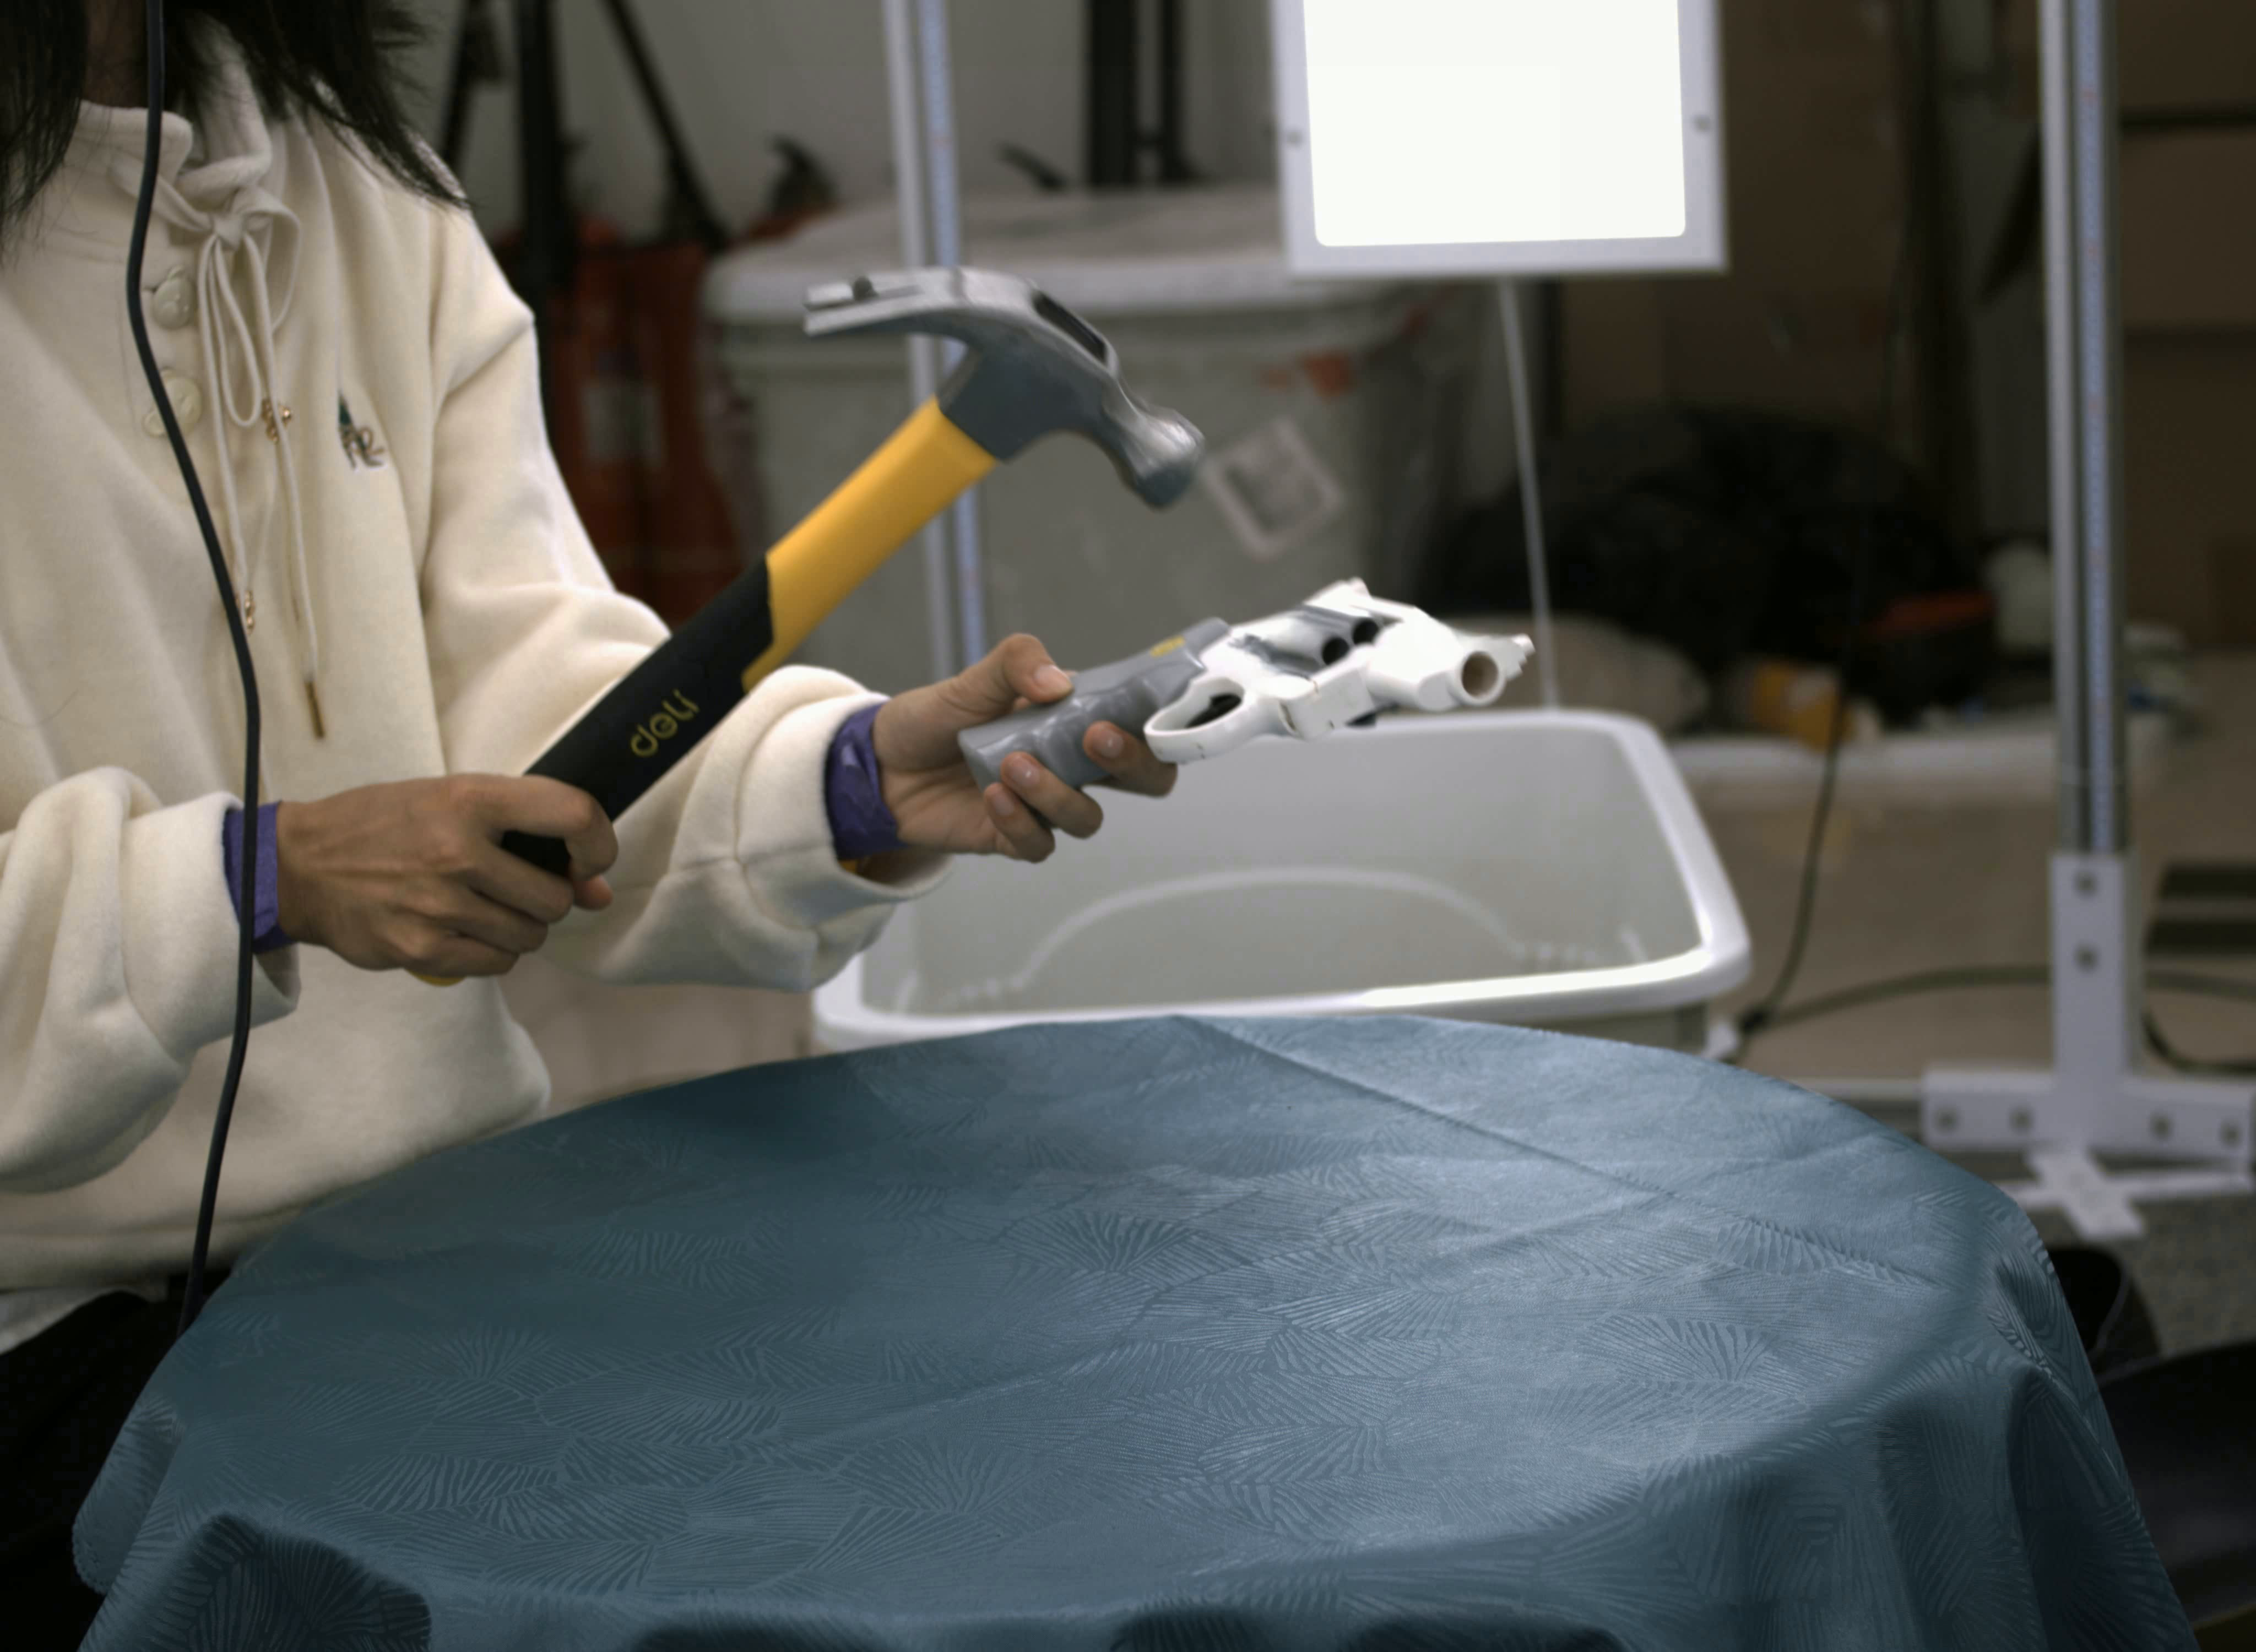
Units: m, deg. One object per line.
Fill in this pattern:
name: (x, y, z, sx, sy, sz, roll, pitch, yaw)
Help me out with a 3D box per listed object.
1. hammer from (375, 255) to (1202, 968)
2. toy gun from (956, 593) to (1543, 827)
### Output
hammer: (-0.136, -0.065, 1.854, 0.344, 0.130, 0.032, -42, 24, 26)
toy gun: (0.037, -0.039, 1.855, 0.139, 0.039, 0.212, -28, 16, -18)
